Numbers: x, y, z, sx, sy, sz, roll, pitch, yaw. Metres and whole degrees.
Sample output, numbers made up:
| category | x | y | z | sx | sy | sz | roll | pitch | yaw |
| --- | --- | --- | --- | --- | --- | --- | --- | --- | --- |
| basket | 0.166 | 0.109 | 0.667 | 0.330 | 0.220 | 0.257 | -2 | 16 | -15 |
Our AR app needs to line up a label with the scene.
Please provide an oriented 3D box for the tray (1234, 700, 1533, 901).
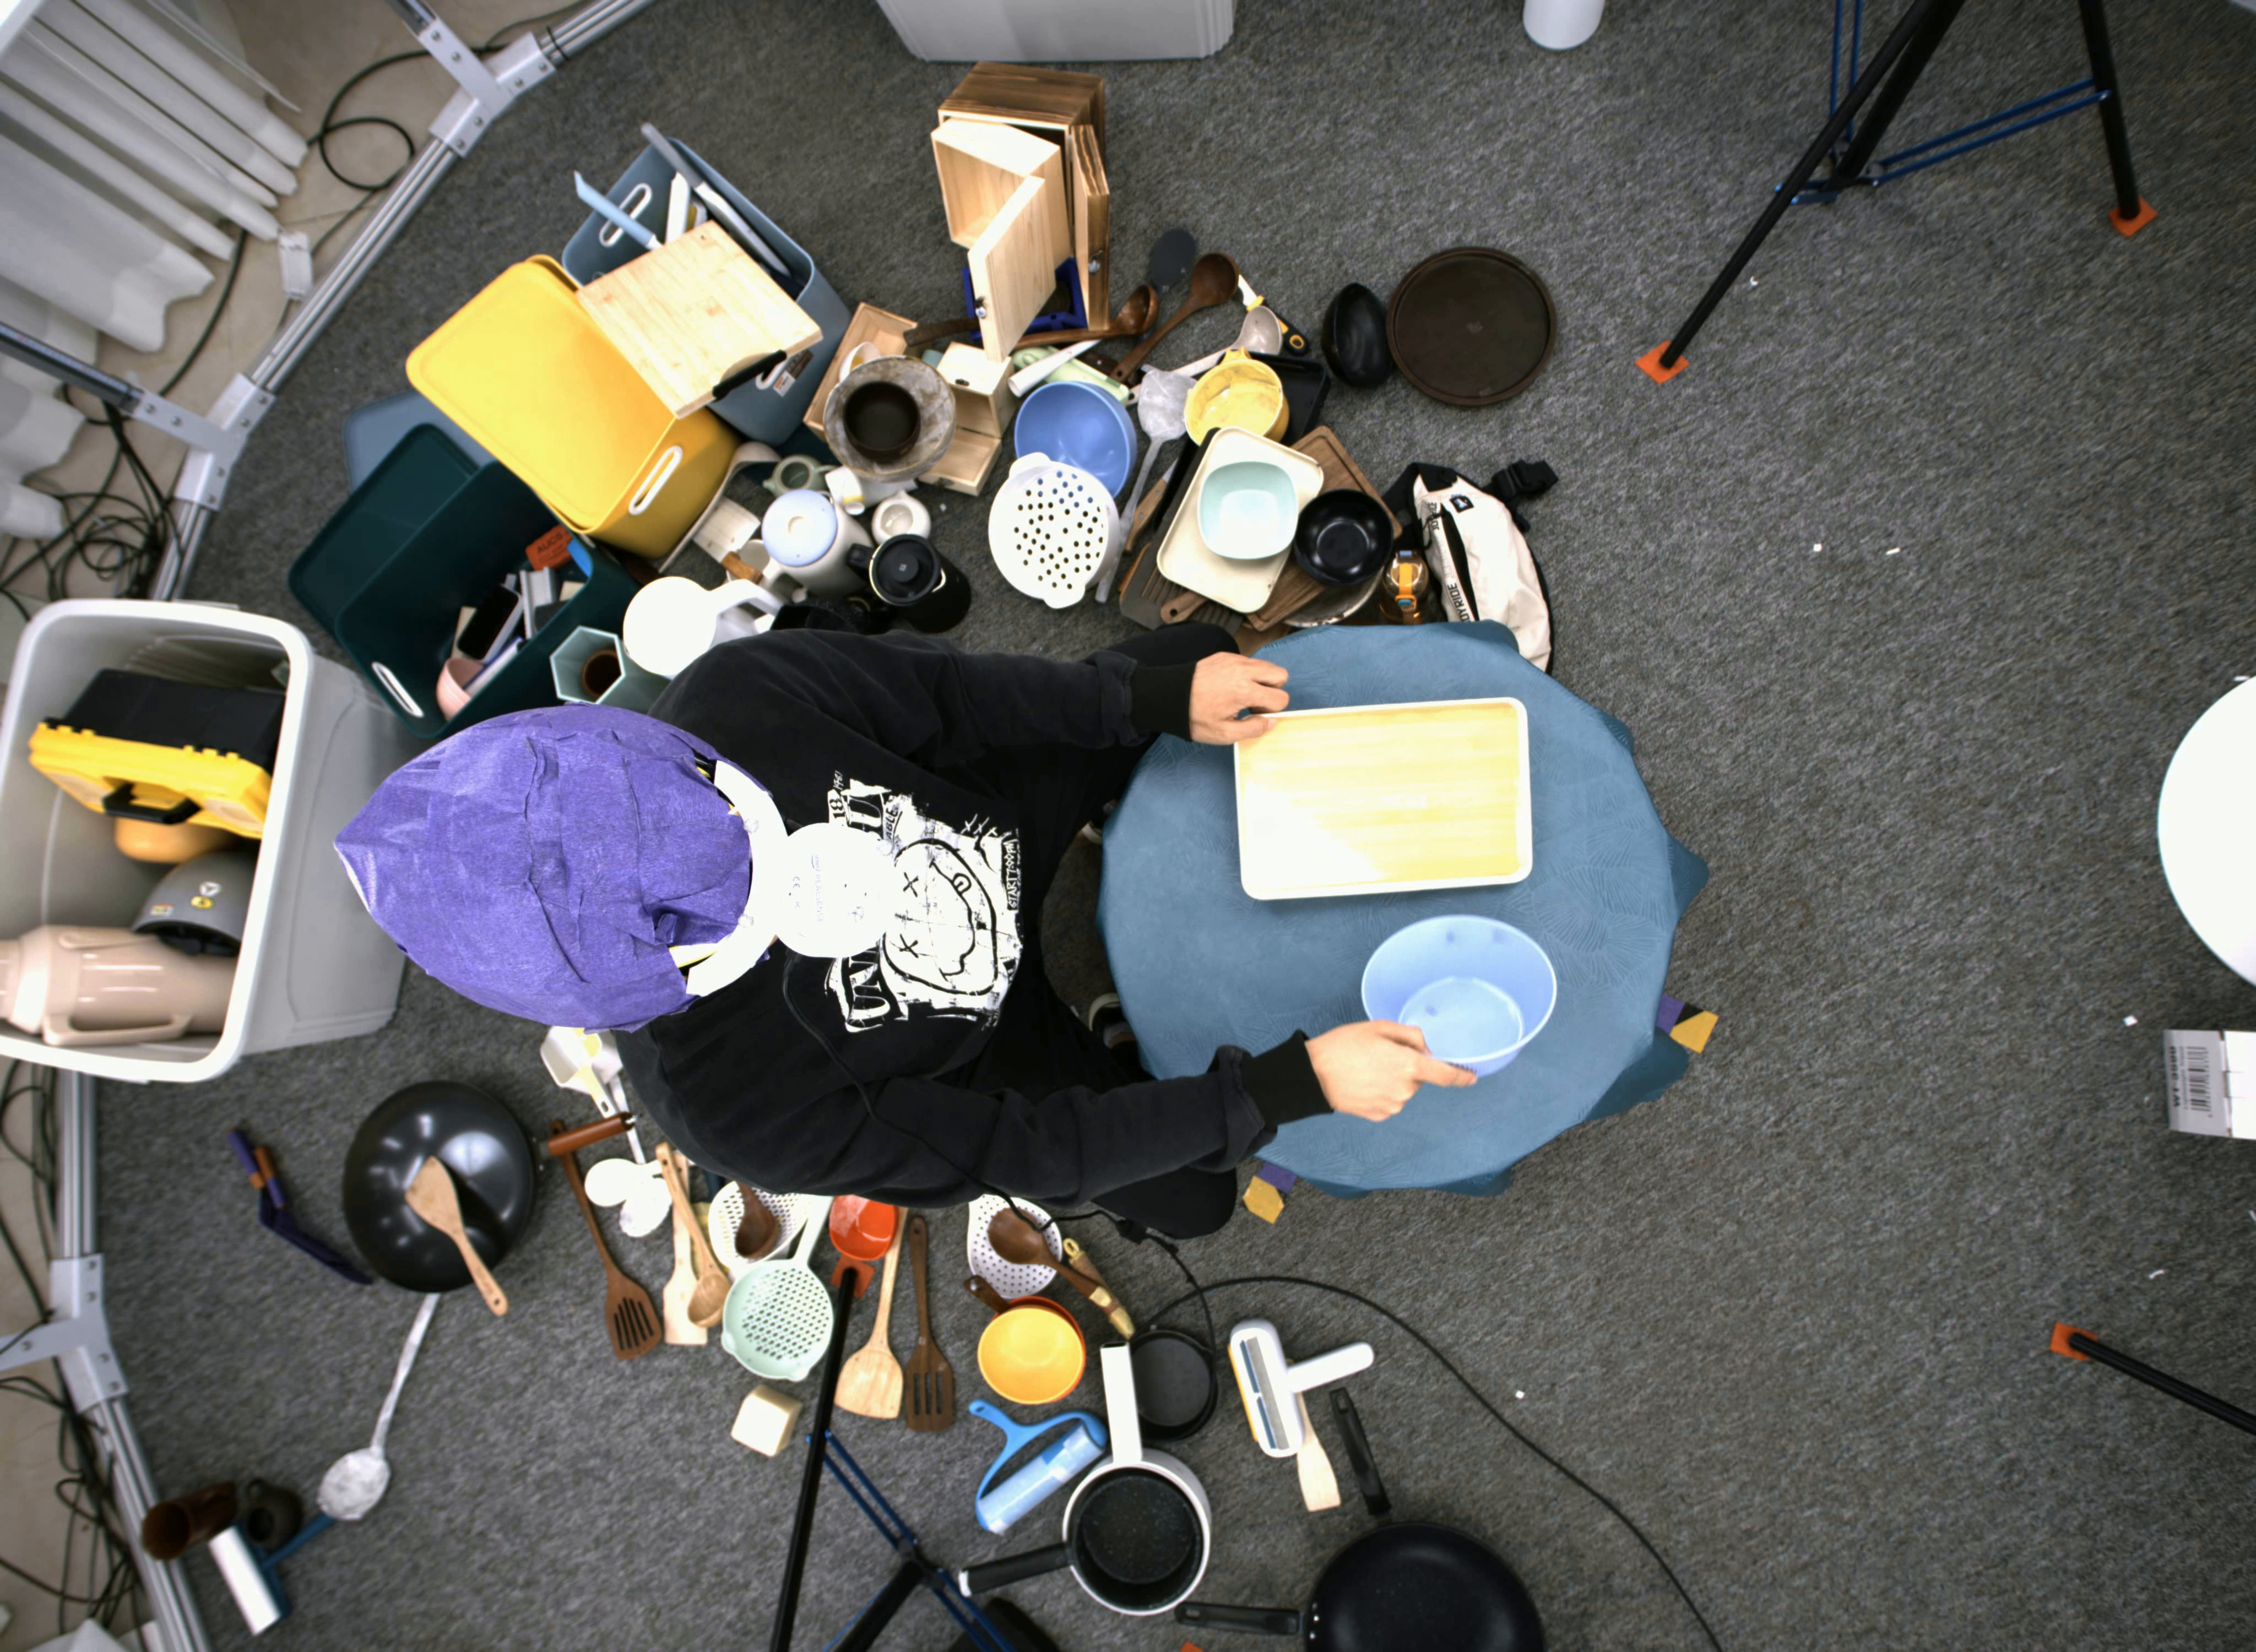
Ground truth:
| category | x | y | z | sx | sy | sz | roll | pitch | yaw |
| --- | --- | --- | --- | --- | --- | --- | --- | --- | --- |
| tray | 0.264 | -0.028 | 1.419 | 0.301 | 0.027 | 0.192 | -4 | 98 | 1 |

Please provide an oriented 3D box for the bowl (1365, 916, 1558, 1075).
| category | x | y | z | sx | sy | sz | roll | pitch | yaw |
| --- | --- | --- | --- | --- | --- | --- | --- | --- | --- |
| bowl | 0.313 | 0.167 | 1.297 | 0.177 | 0.072 | 0.171 | -9 | 42 | 8 |
